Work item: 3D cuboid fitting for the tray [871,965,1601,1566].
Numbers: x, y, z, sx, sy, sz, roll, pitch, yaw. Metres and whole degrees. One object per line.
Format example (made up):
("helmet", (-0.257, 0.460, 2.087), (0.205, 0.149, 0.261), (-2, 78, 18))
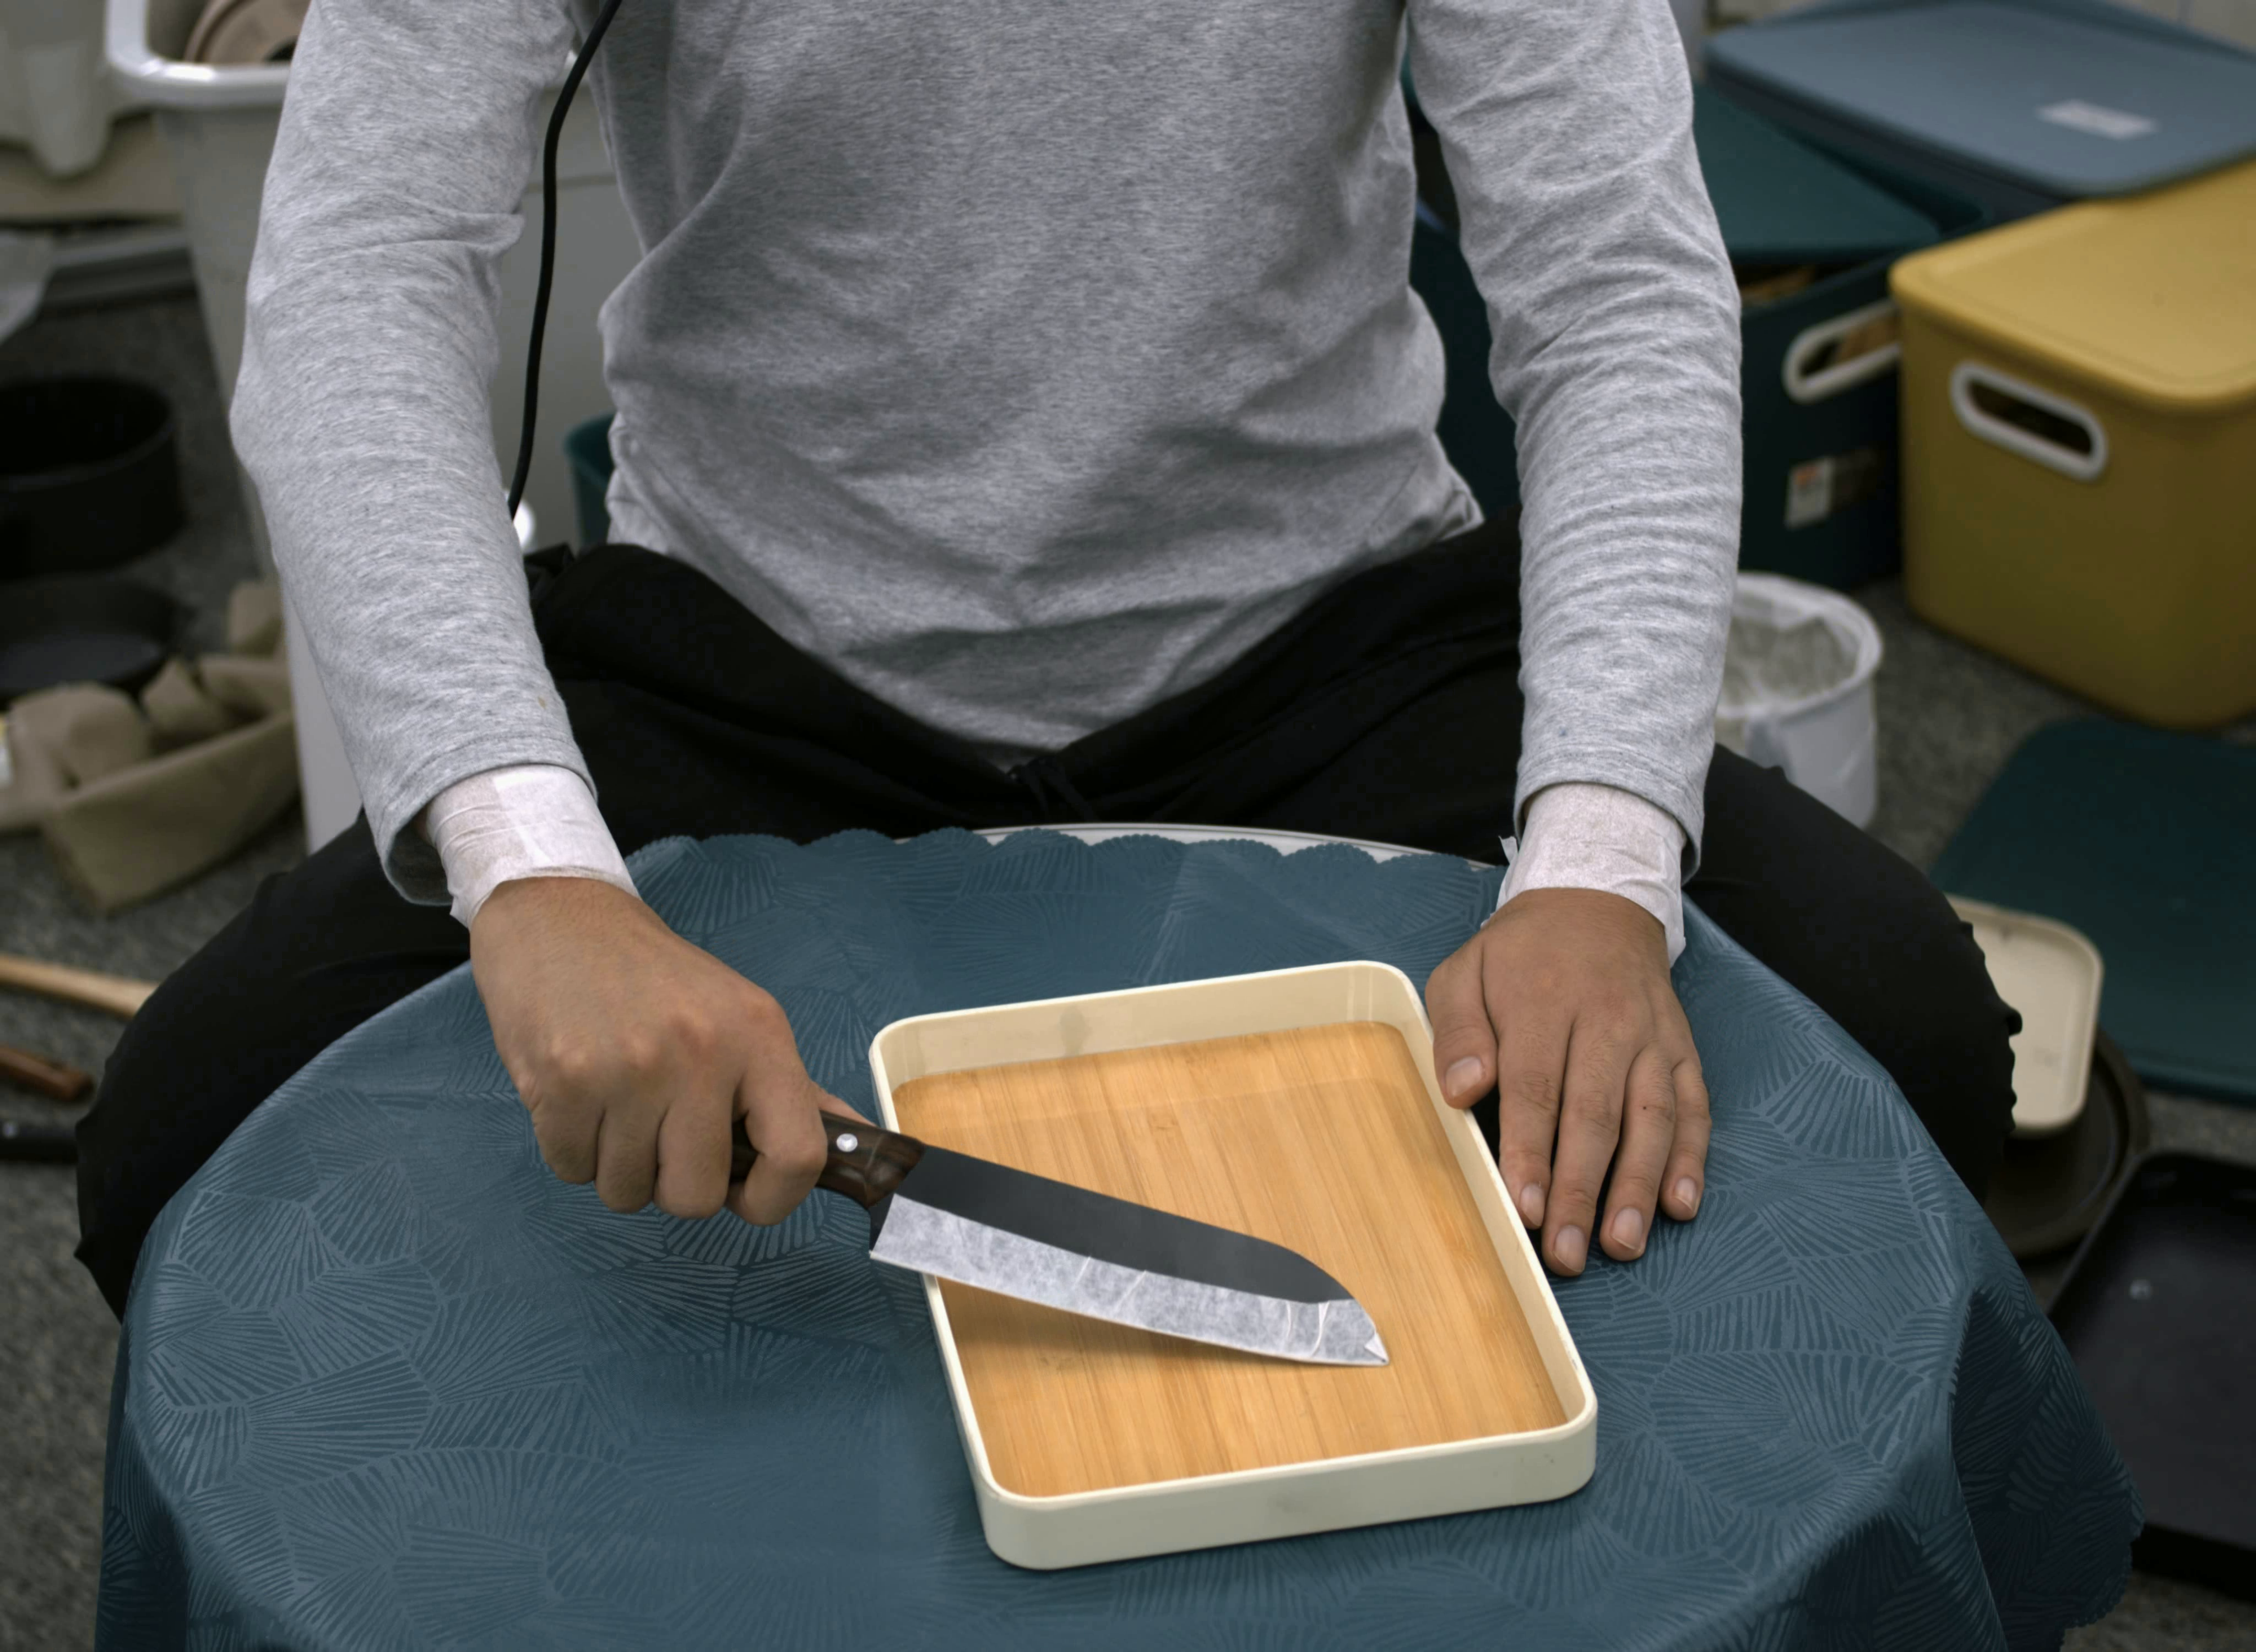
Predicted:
("tray", (0.028, 0.135, 1.805), (0.191, 0.027, 0.304), (-6, 27, -7))

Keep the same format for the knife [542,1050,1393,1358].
("knife", (-0.053, 0.121, 1.777), (0.288, 0.020, 0.051), (17, 59, 8))
